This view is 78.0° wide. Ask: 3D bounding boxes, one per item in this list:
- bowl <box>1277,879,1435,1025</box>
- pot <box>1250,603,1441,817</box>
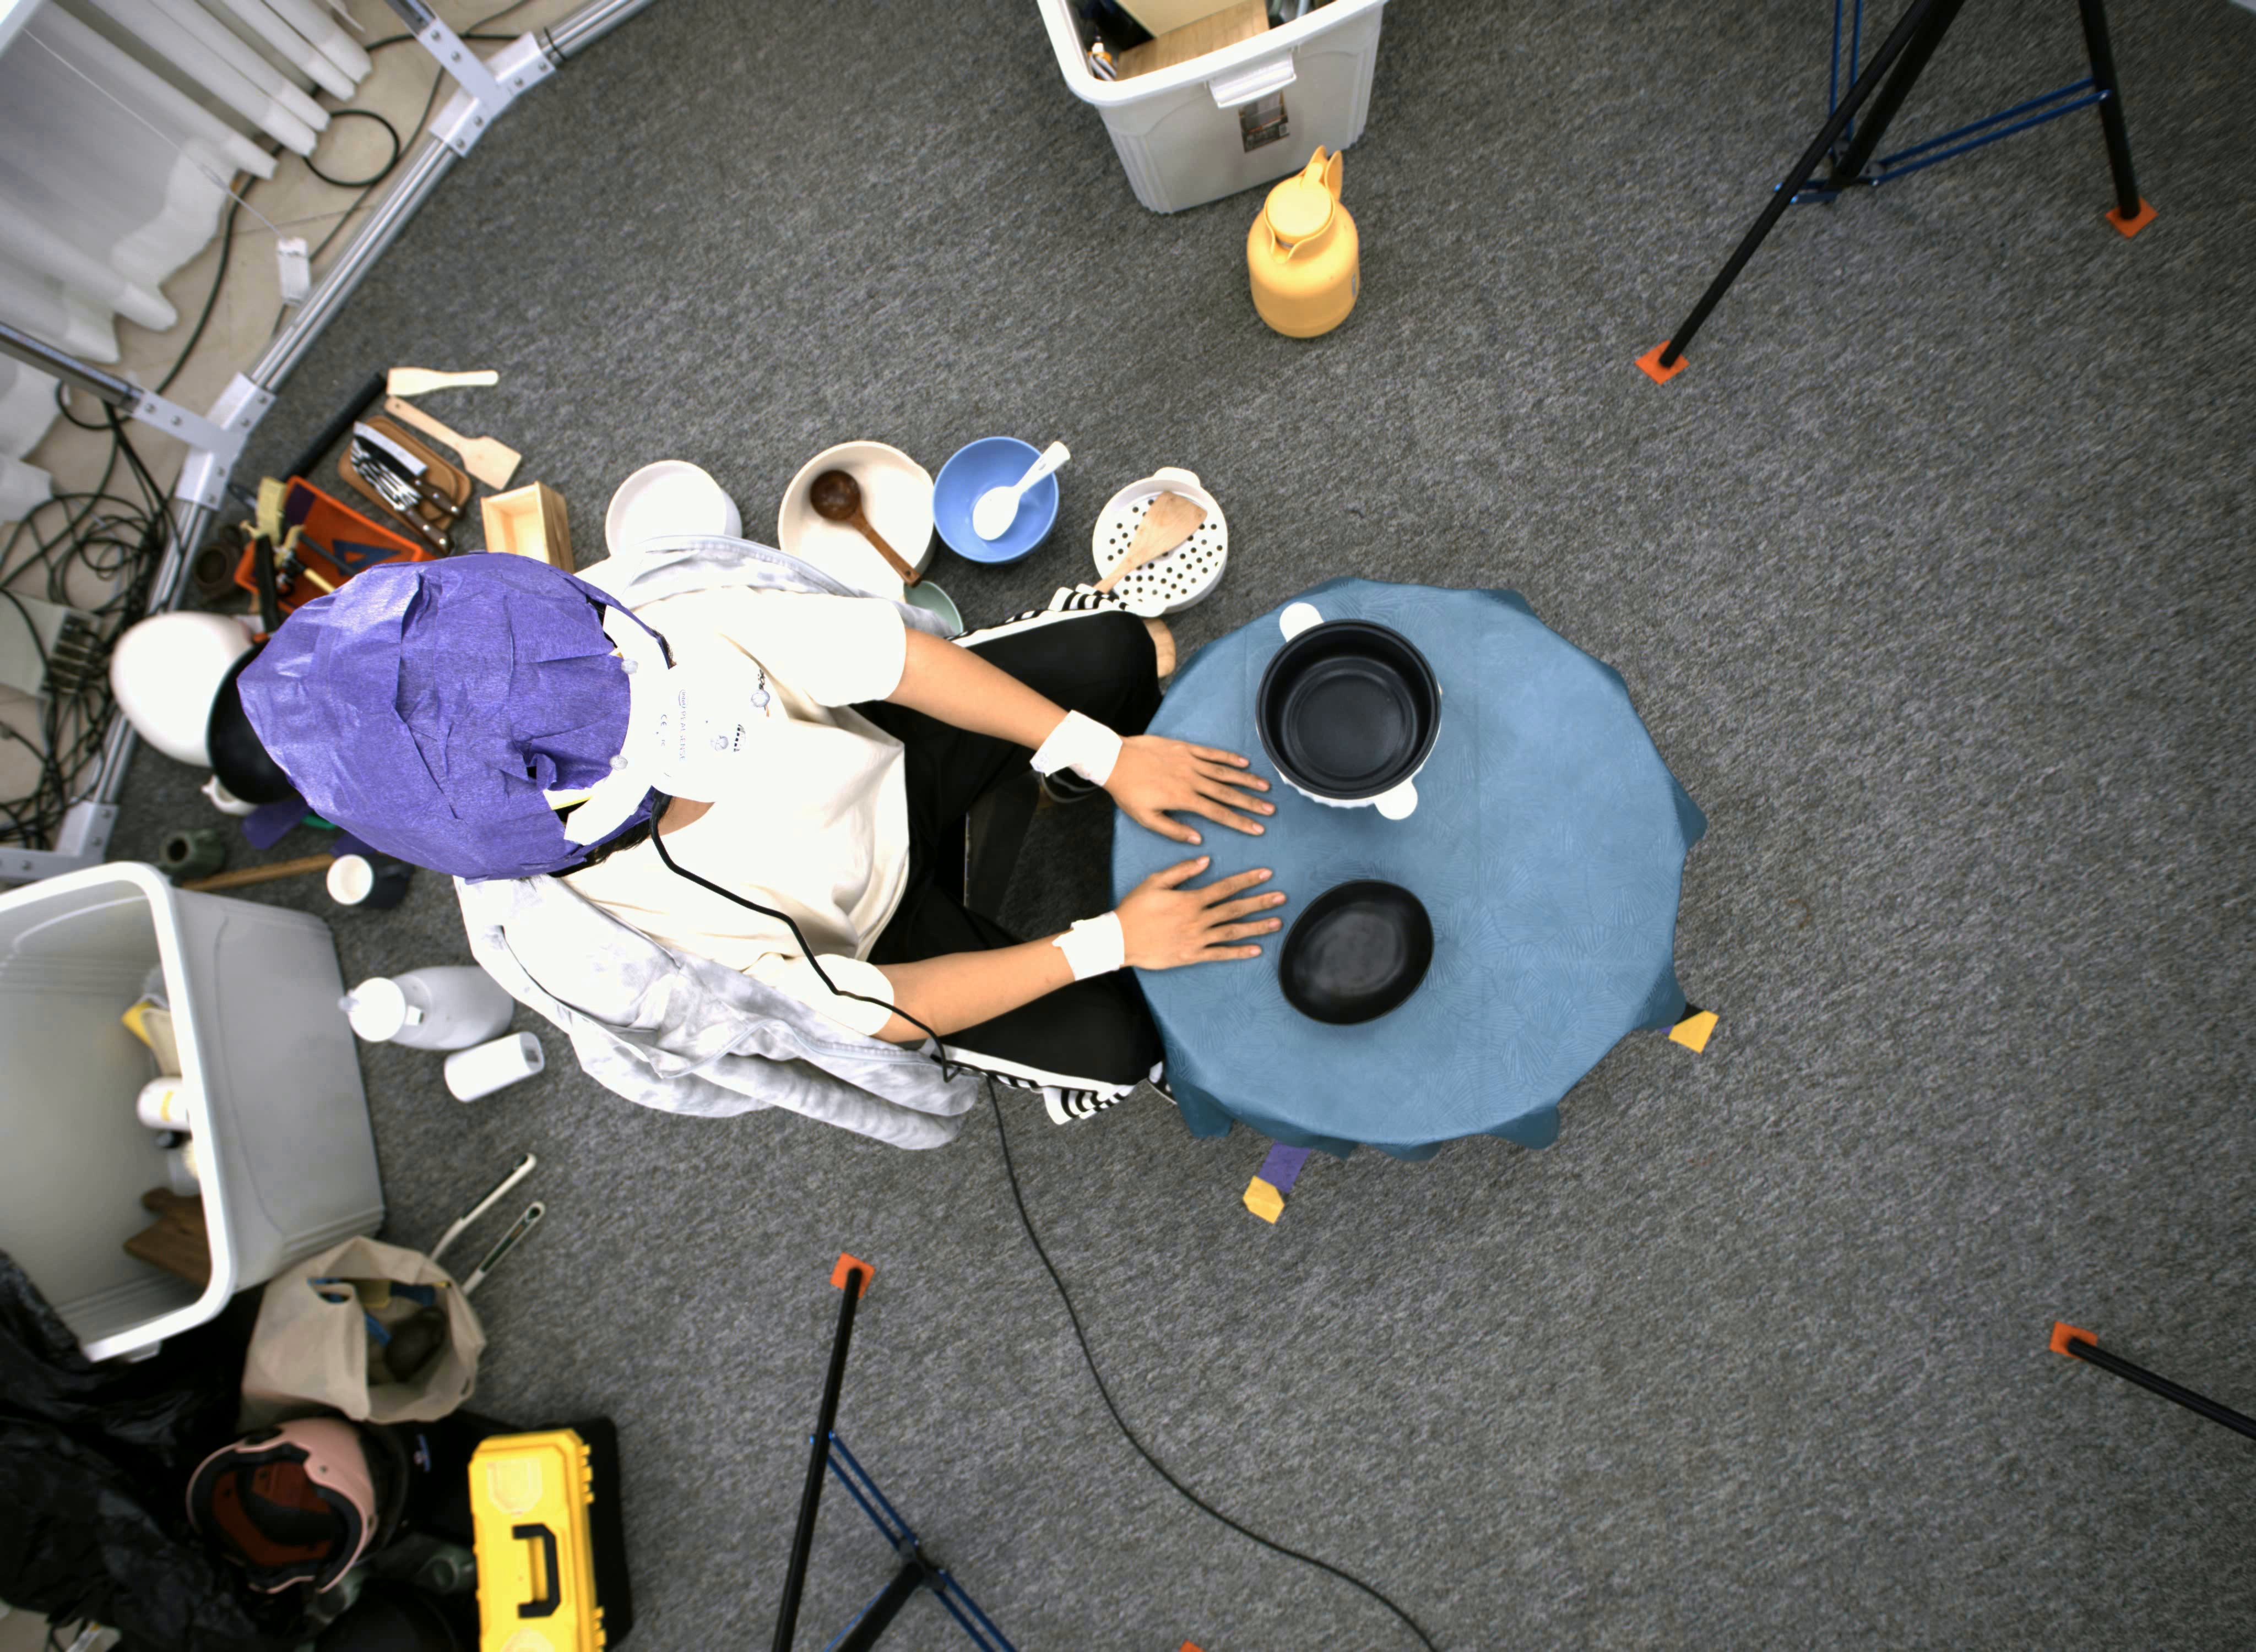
[{"bbox_3d":[0.236,0.131,1.429,0.171,0.067,0.136,-39,79,7],"label":"bowl"},{"bbox_3d":[0.229,-0.113,1.406,0.192,0.142,0.239,-29,82,10],"label":"pot"}]
